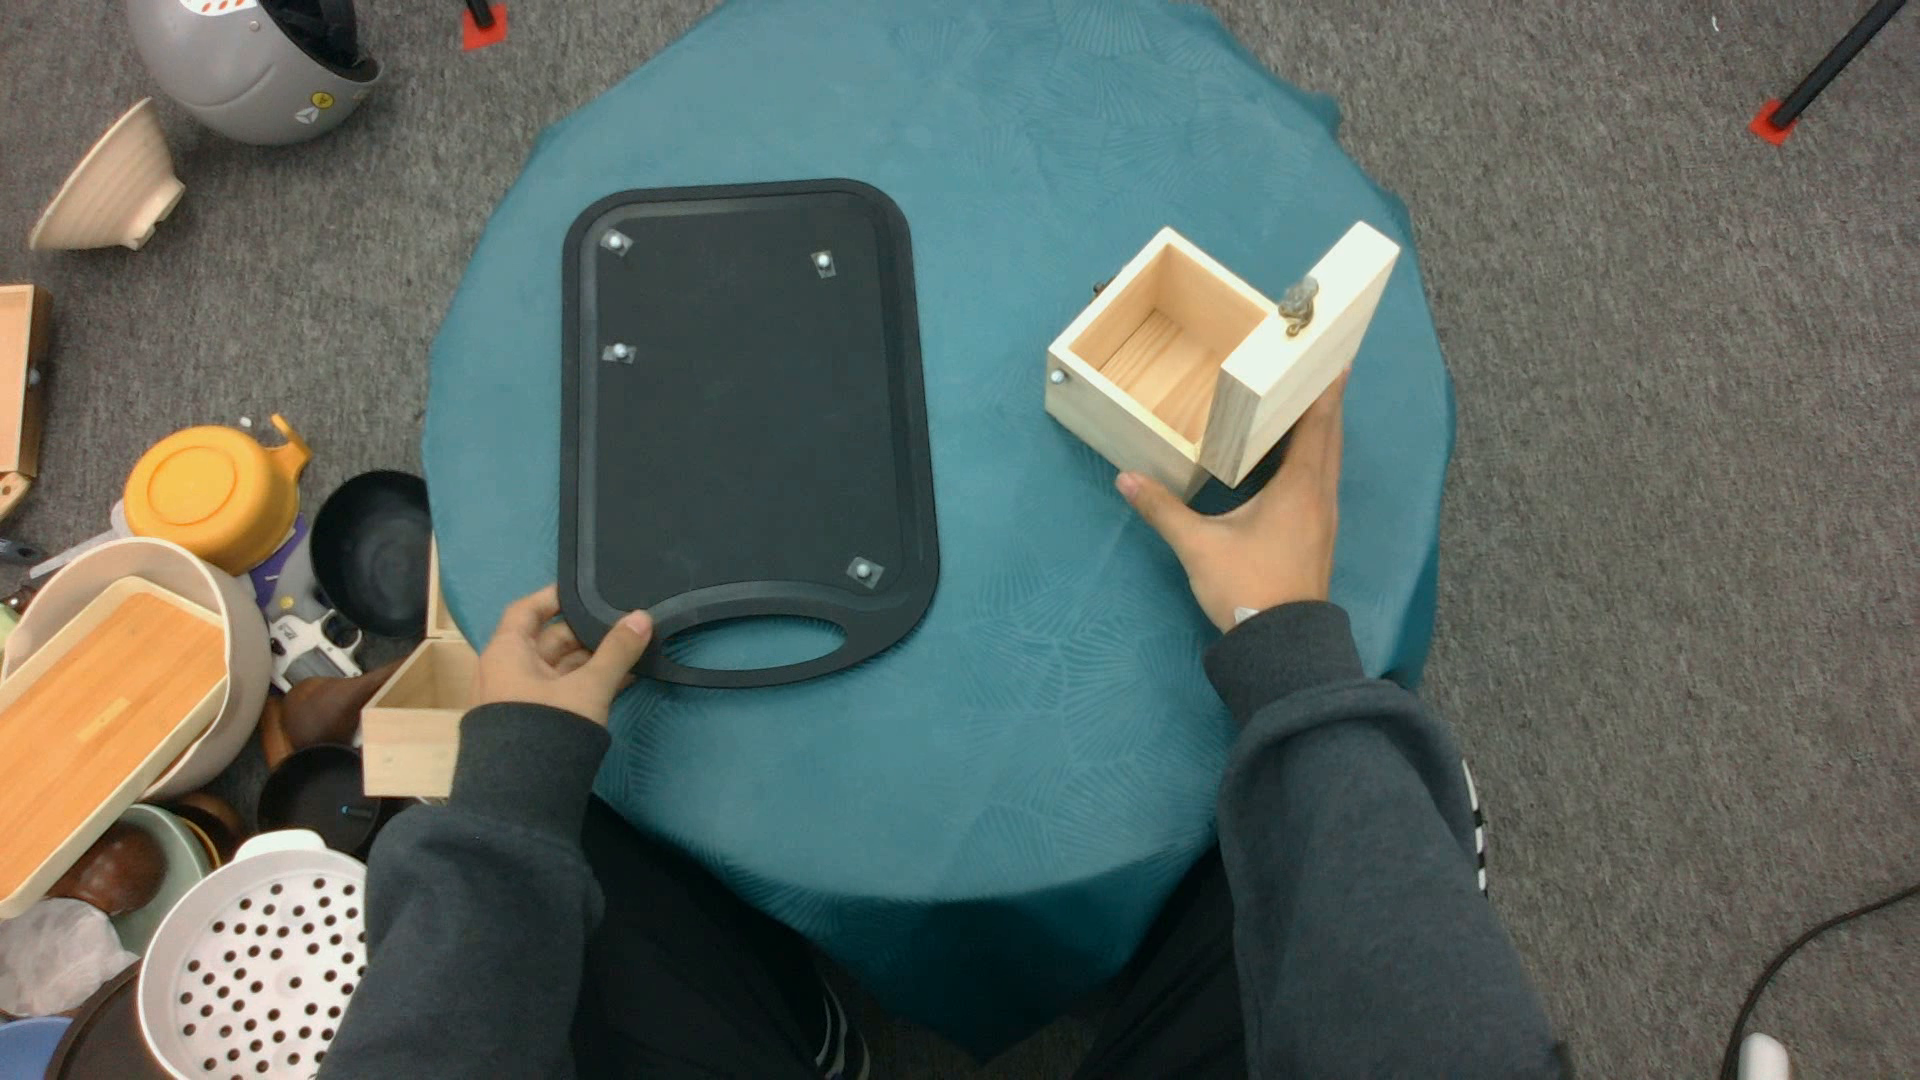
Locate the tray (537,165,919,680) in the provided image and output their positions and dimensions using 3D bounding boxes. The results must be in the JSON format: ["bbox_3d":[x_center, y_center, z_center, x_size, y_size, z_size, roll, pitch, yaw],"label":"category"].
[{"bbox_3d":[-0.135,-0.078,0.793,0.211,0.010,0.326,-4,69,-4],"label":"tray"}]

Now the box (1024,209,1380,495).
[{"bbox_3d":[0.114,-0.115,0.717,0.134,0.184,0.103,39,75,12],"label":"box"}]
